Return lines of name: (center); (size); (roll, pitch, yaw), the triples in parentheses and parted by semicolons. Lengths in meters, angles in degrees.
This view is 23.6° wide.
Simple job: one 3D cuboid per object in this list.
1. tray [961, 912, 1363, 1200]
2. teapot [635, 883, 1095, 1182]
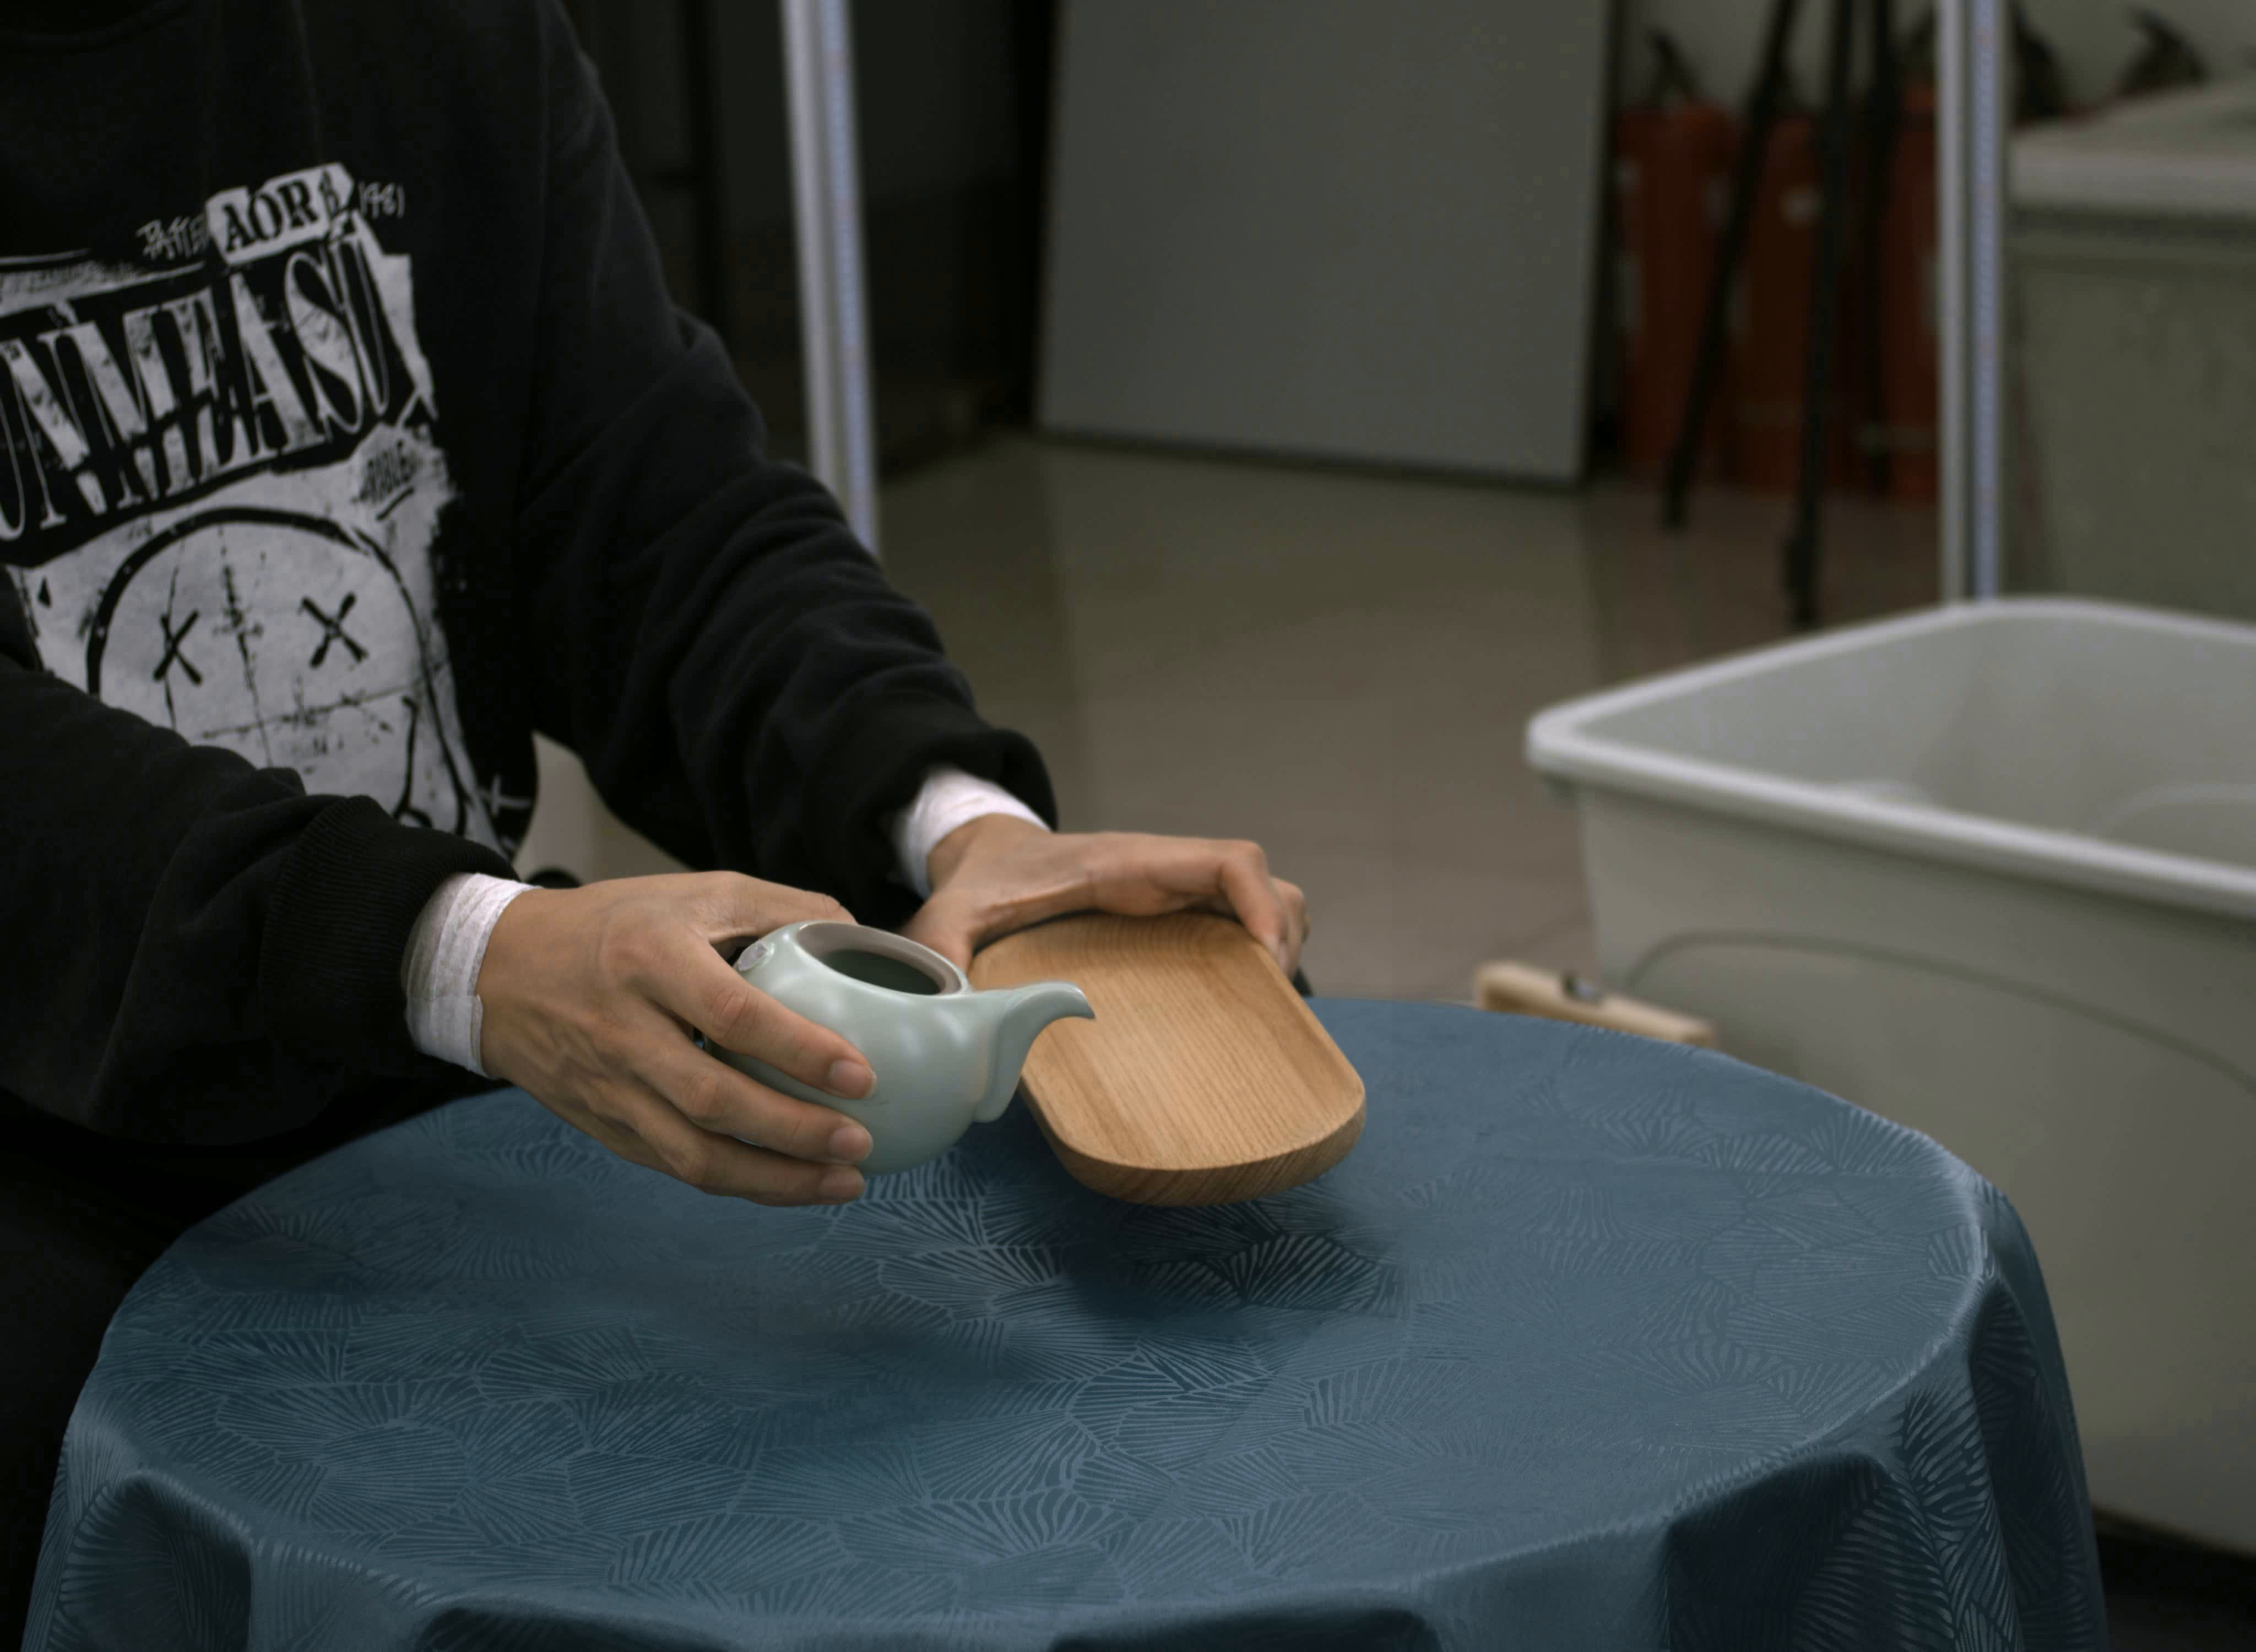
tray: (0.009, 0.073, 1.755); (0.100, 0.020, 0.233); (-9, 18, -11)
teapot: (-0.085, 0.066, 1.648); (0.141, 0.075, 0.089); (15, 14, -14)
